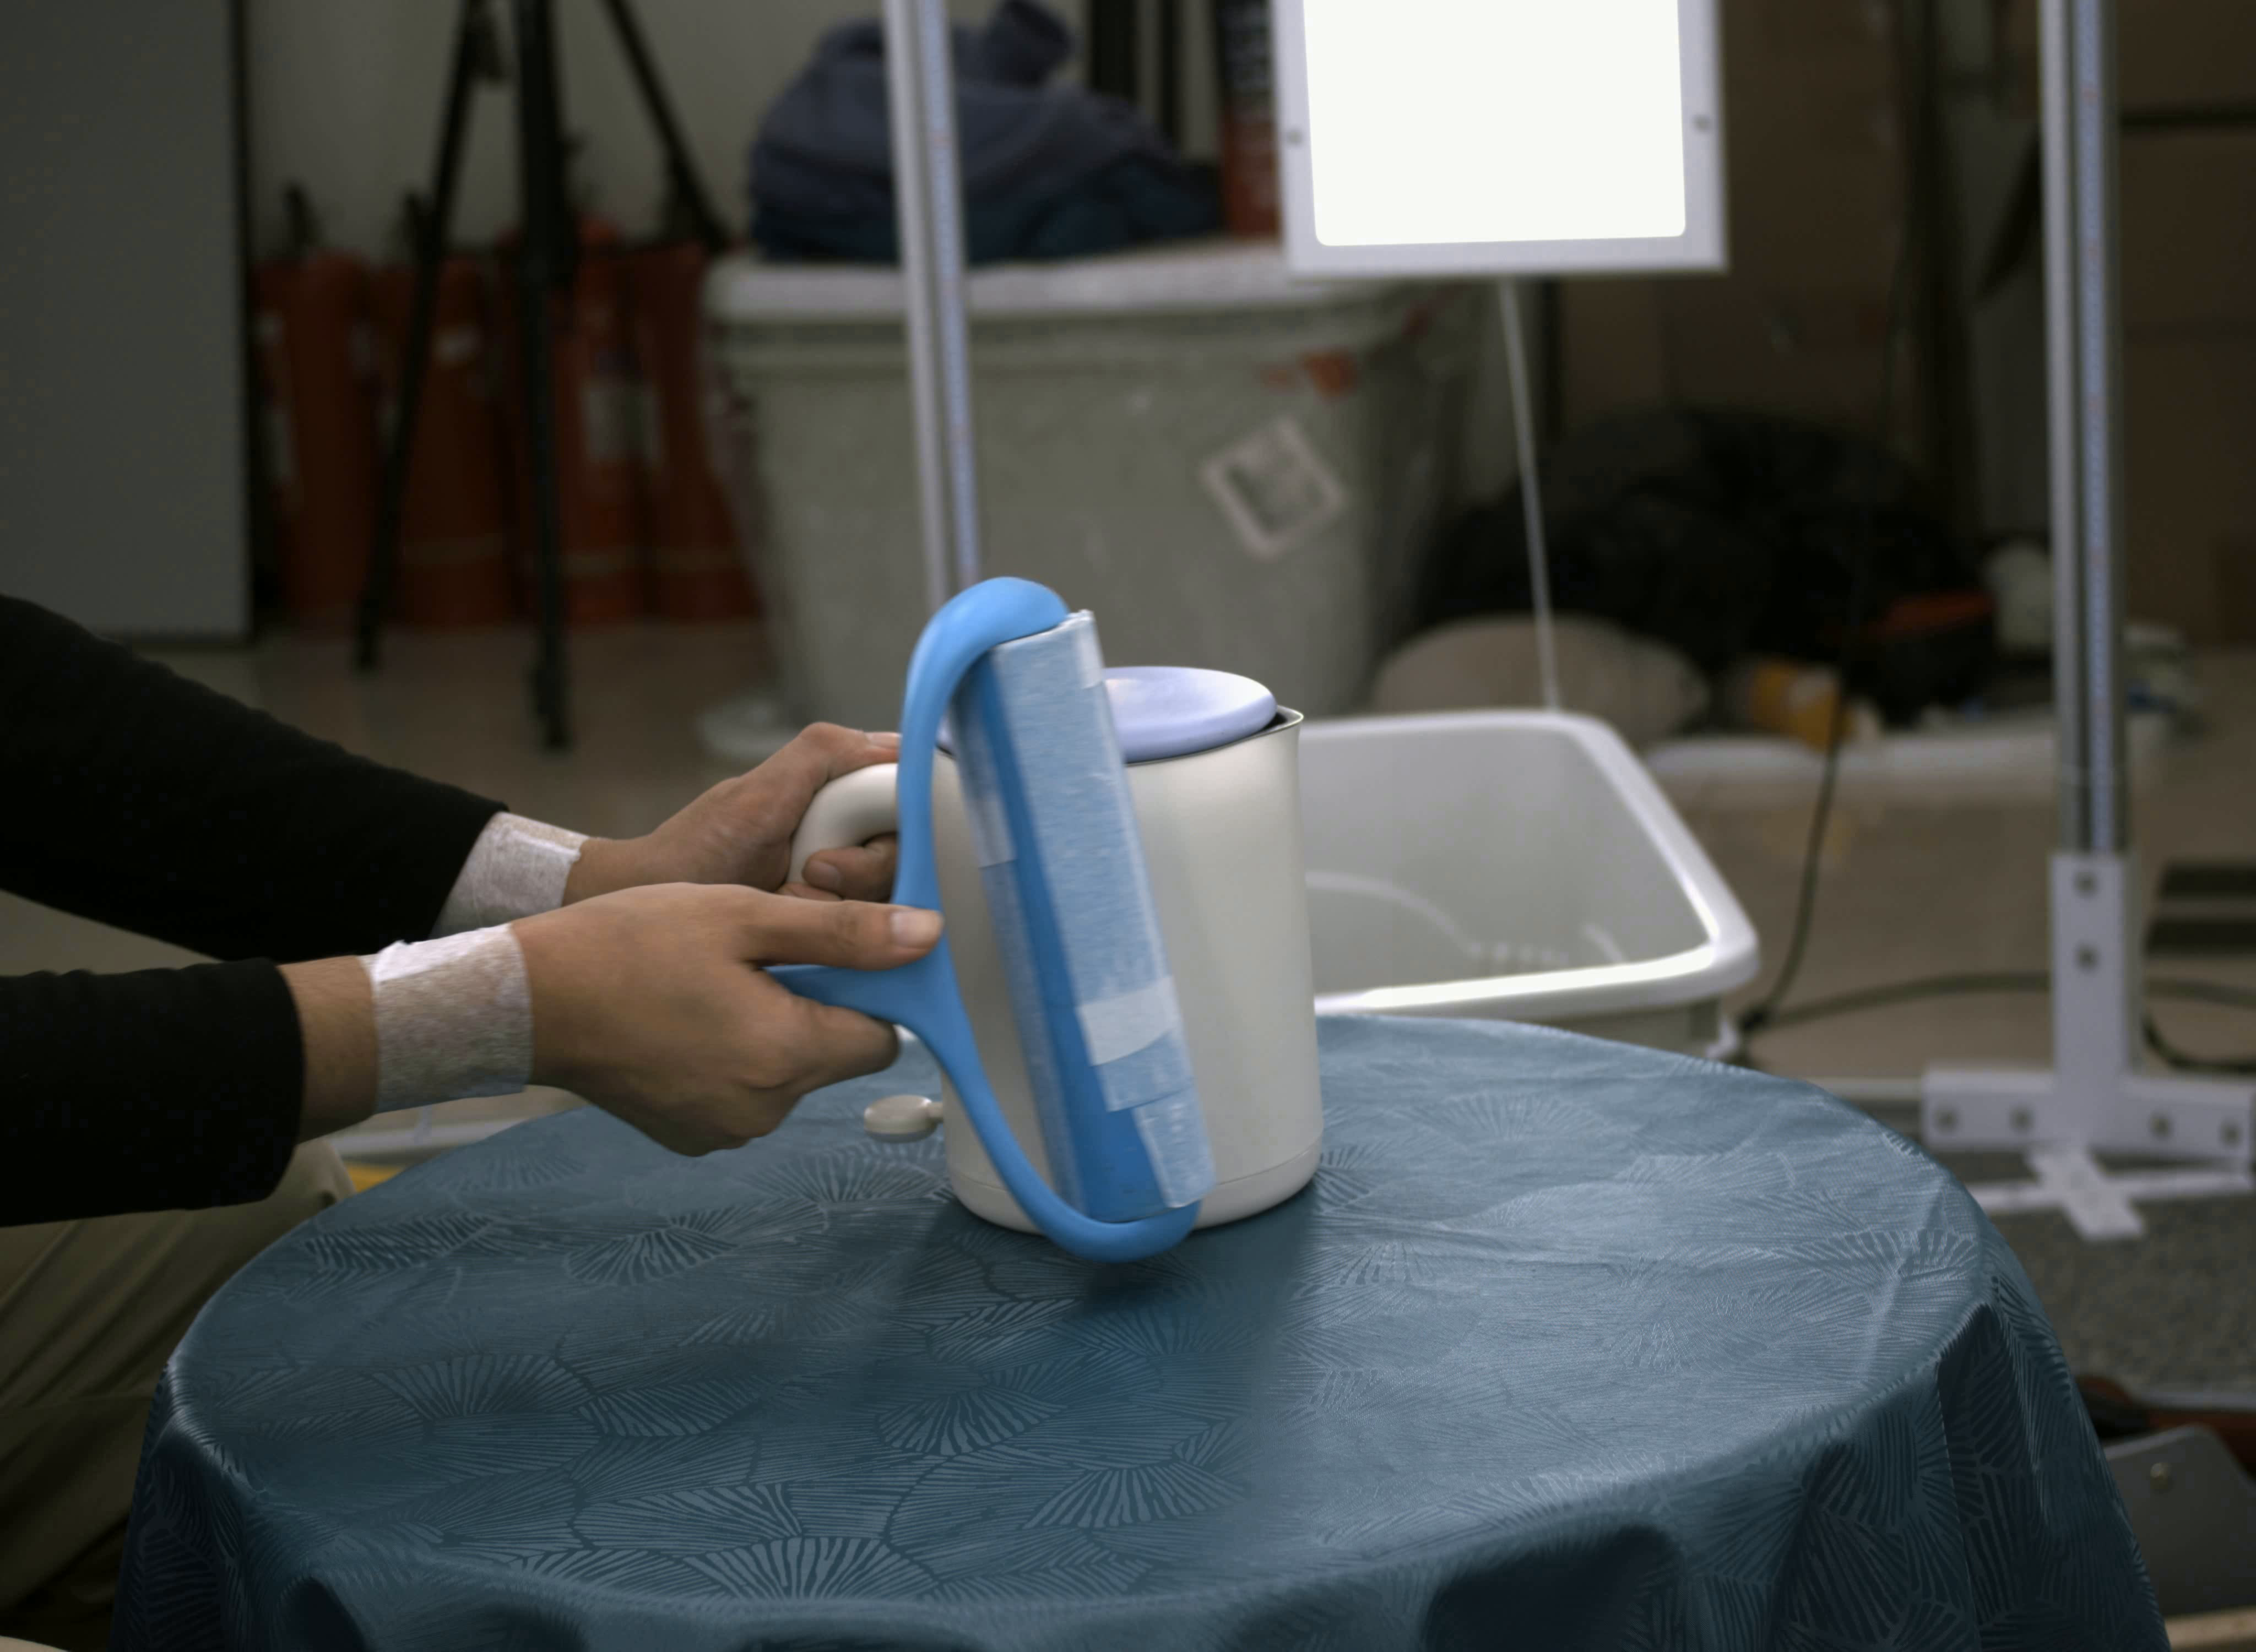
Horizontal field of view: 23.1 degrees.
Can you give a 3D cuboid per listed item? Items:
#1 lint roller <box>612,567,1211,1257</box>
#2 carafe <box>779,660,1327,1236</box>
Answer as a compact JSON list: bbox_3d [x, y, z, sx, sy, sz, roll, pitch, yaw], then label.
[{"bbox_3d":[-0.076,0.045,1.783,0.179,0.229,0.068,-16,11,-7],"label":"lint roller"},{"bbox_3d":[-0.026,0.043,1.888,0.192,0.183,0.131,-4,13,10],"label":"carafe"}]
